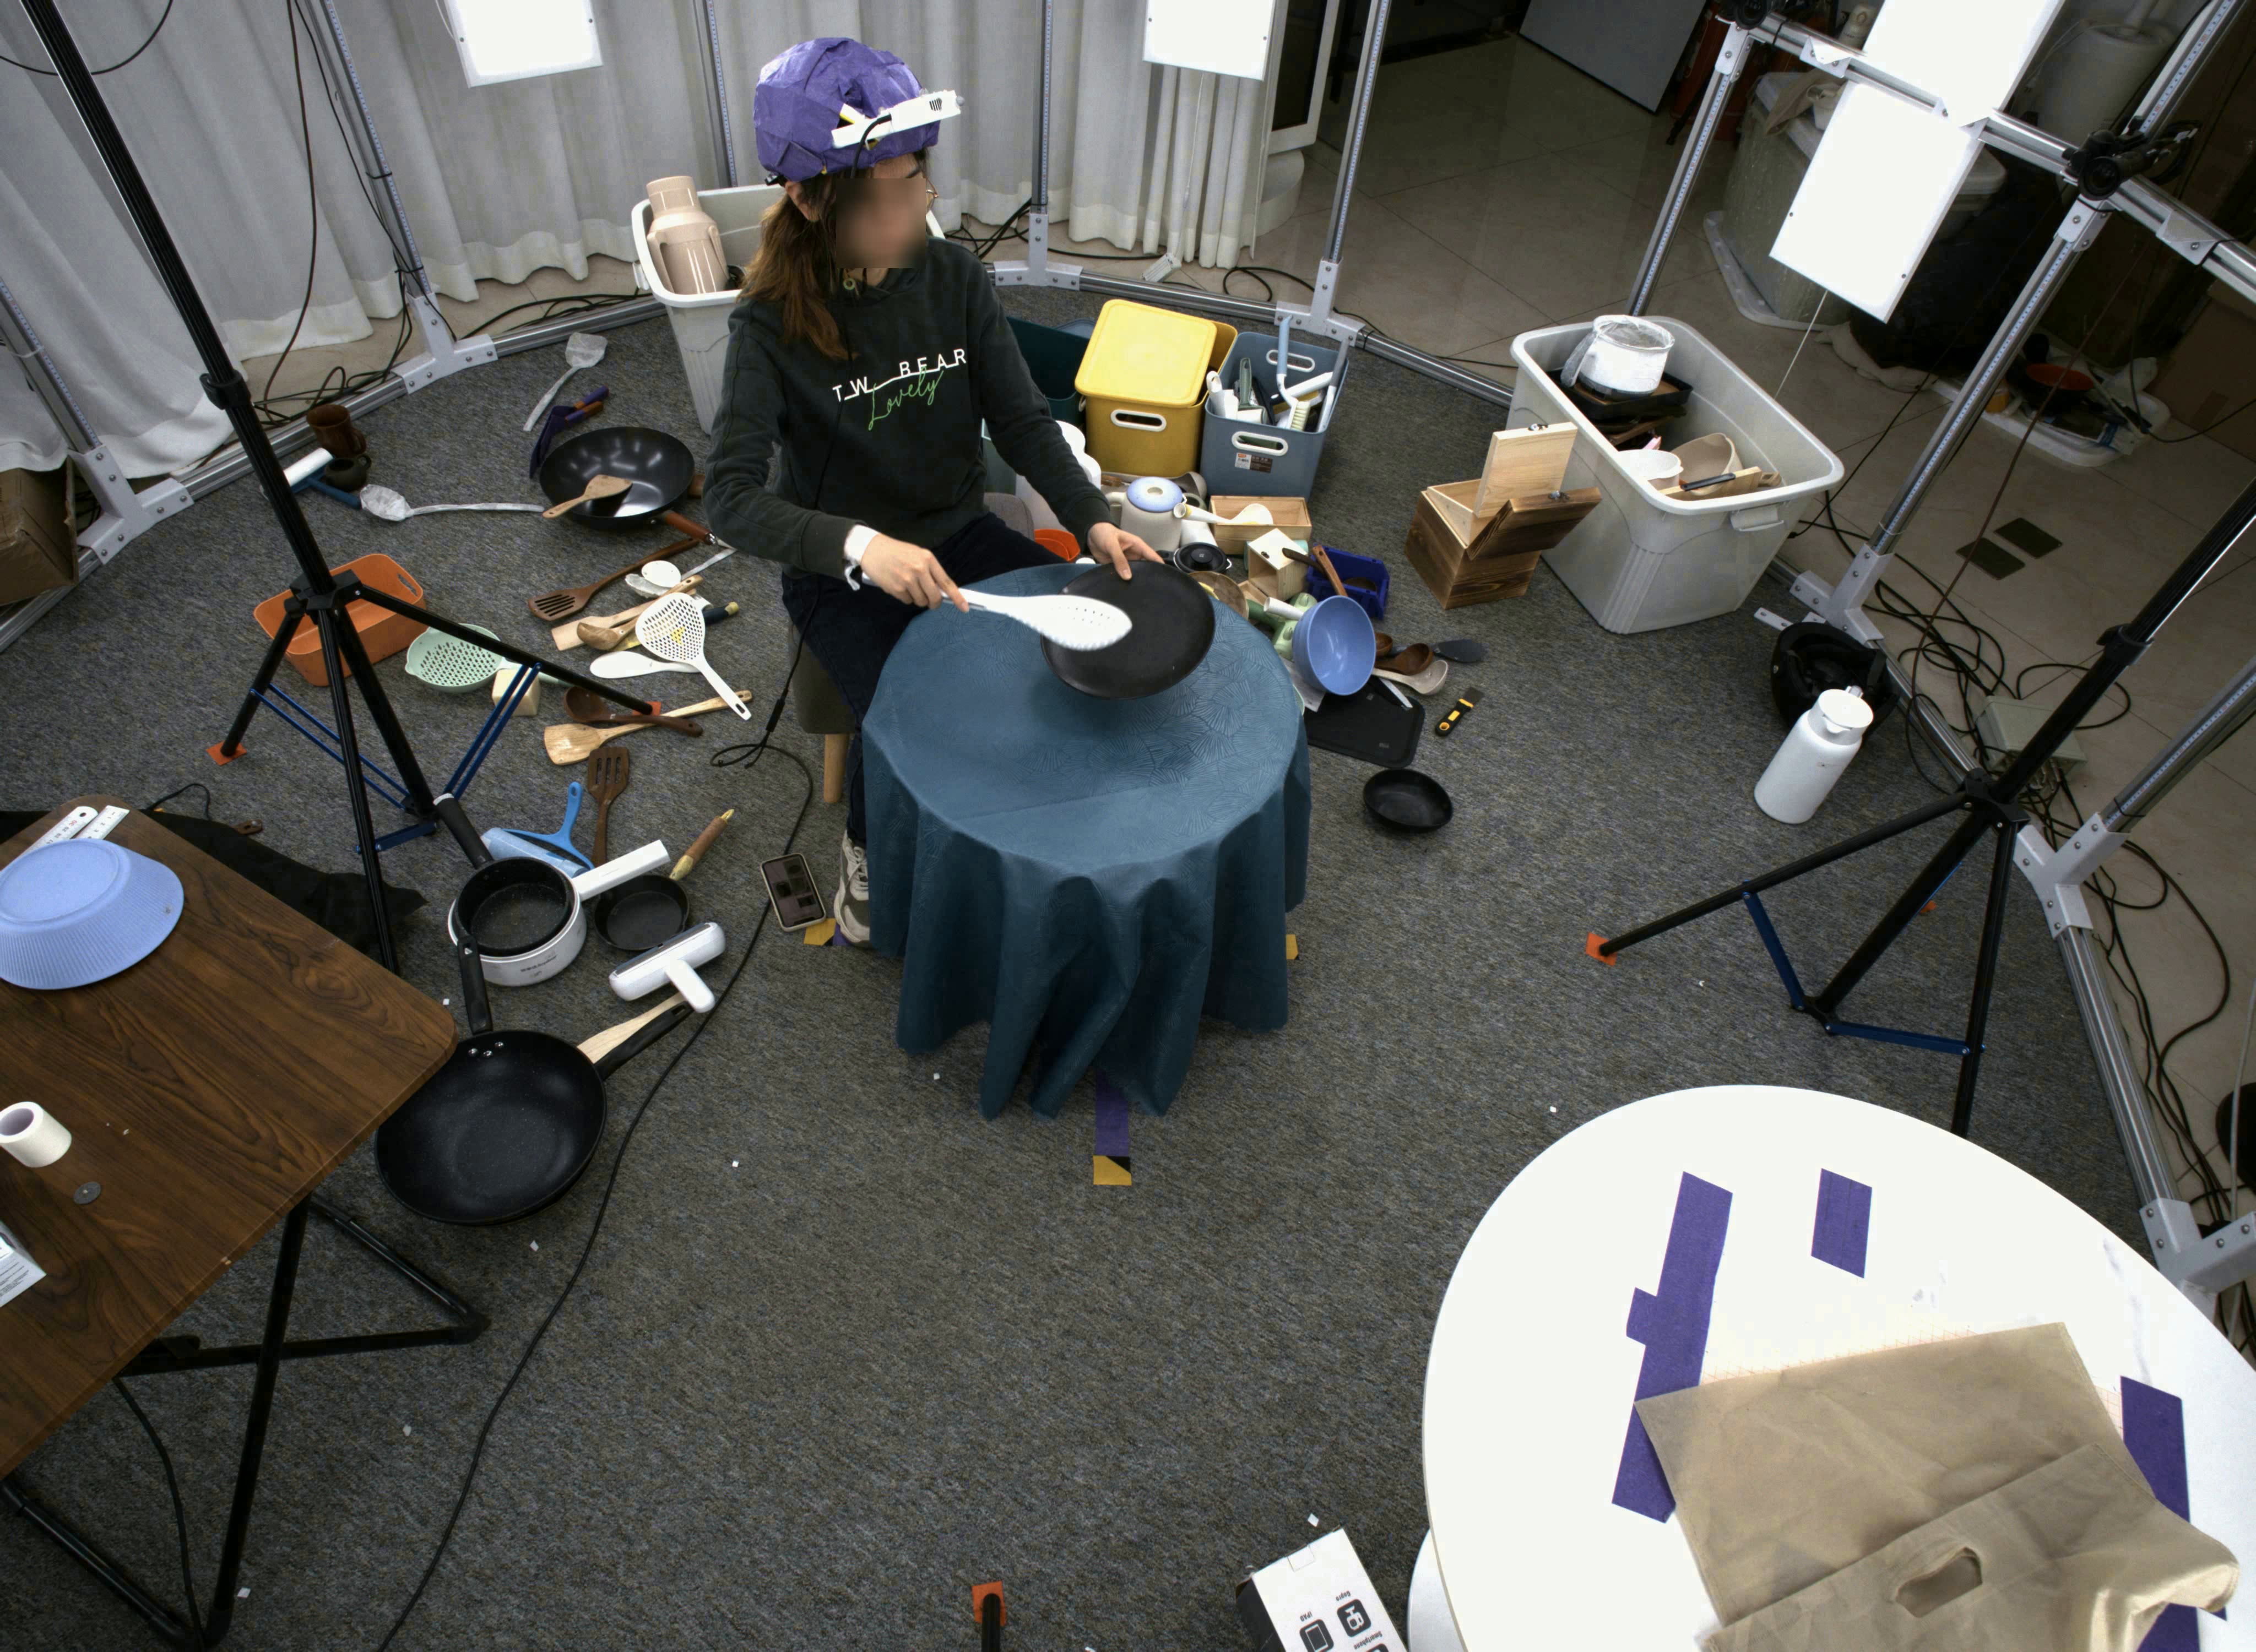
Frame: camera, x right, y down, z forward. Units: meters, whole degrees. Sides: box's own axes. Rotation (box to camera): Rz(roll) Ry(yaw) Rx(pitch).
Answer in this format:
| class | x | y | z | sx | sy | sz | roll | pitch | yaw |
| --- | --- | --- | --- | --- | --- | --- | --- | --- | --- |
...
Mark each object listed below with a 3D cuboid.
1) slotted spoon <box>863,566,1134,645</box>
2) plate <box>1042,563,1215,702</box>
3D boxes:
| class | x | y | z | sx | sy | sz | roll | pitch | yaw |
| --- | --- | --- | --- | --- | --- | --- | --- | --- | --- |
| slotted spoon | -0.166 | -0.292 | 1.670 | 0.348 | 0.135 | 0.046 | 14 | 75 | -7 |
| plate | 0.001 | -0.269 | 1.795 | 0.244 | 0.023 | 0.250 | -4 | 57 | 7 |
